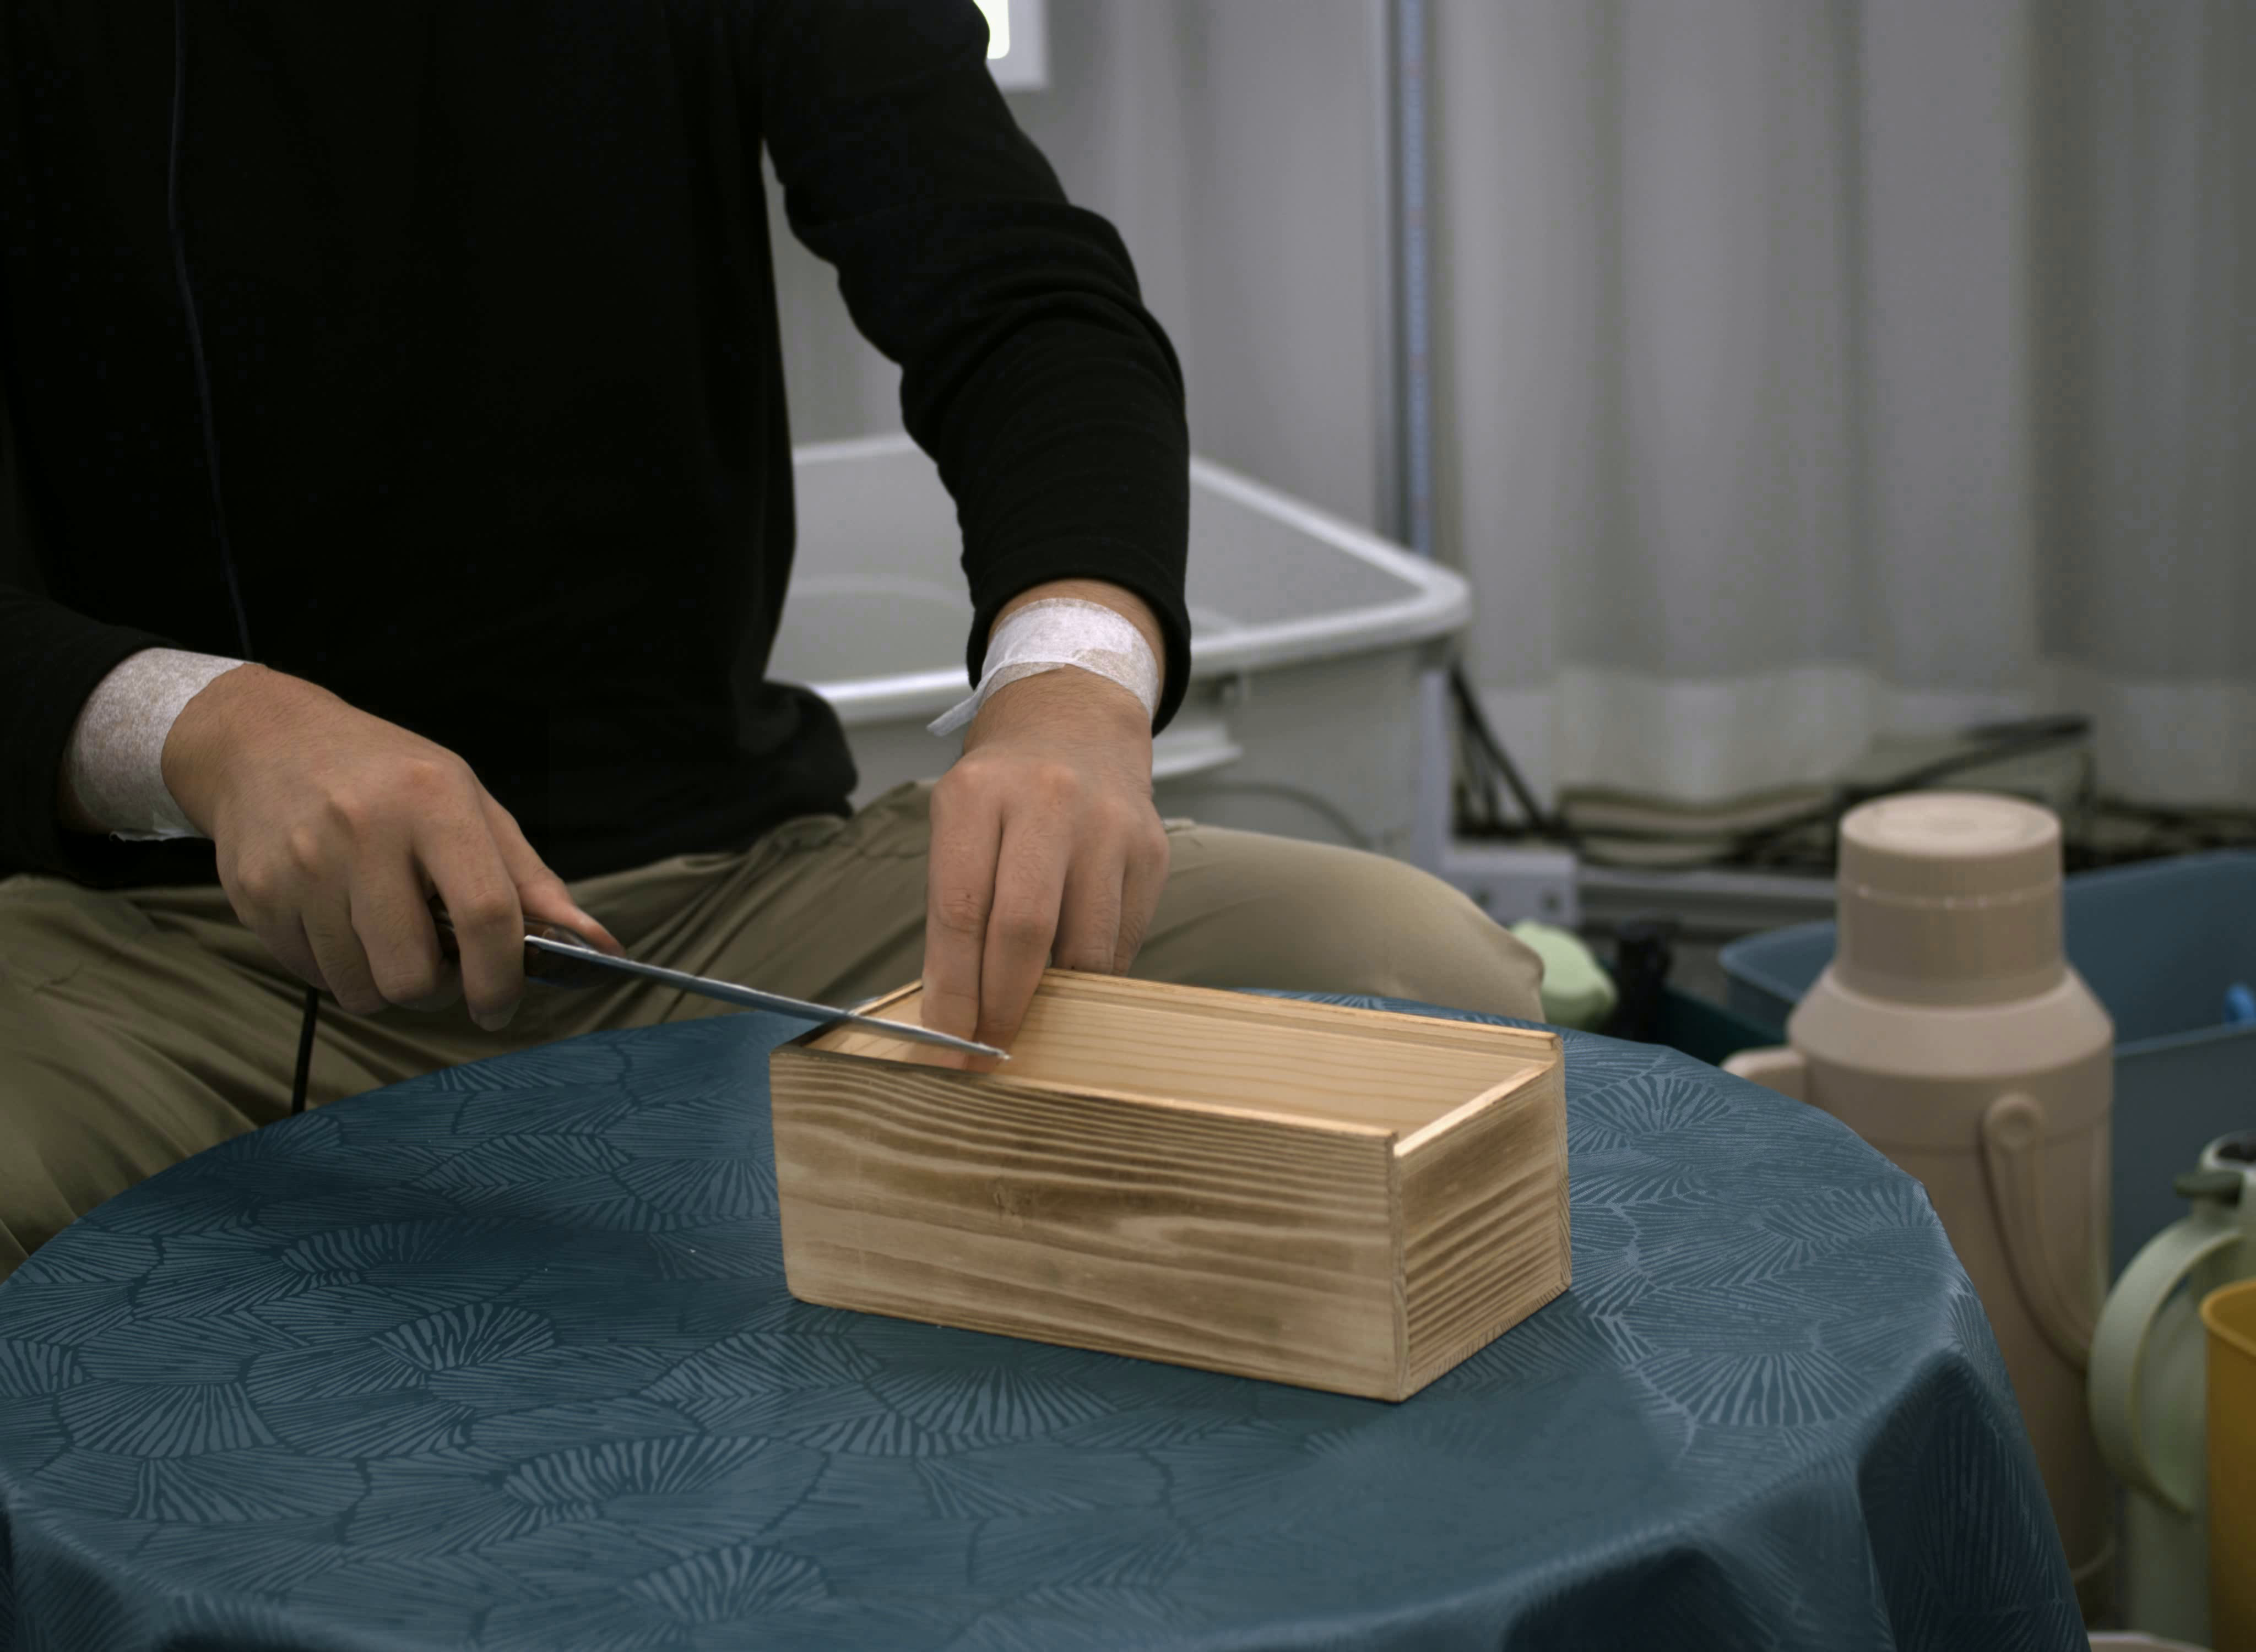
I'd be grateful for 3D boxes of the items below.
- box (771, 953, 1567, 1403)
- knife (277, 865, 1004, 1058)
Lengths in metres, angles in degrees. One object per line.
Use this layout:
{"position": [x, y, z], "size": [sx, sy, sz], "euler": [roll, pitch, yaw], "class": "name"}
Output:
{"position": [0.012, 0.101, 1.611], "size": [0.212, 0.080, 0.107], "euler": [7, 17, 31], "class": "box"}
{"position": [-0.151, 0.044, 1.652], "size": [0.290, 0.020, 0.050], "euler": [11, -8, 36], "class": "knife"}
